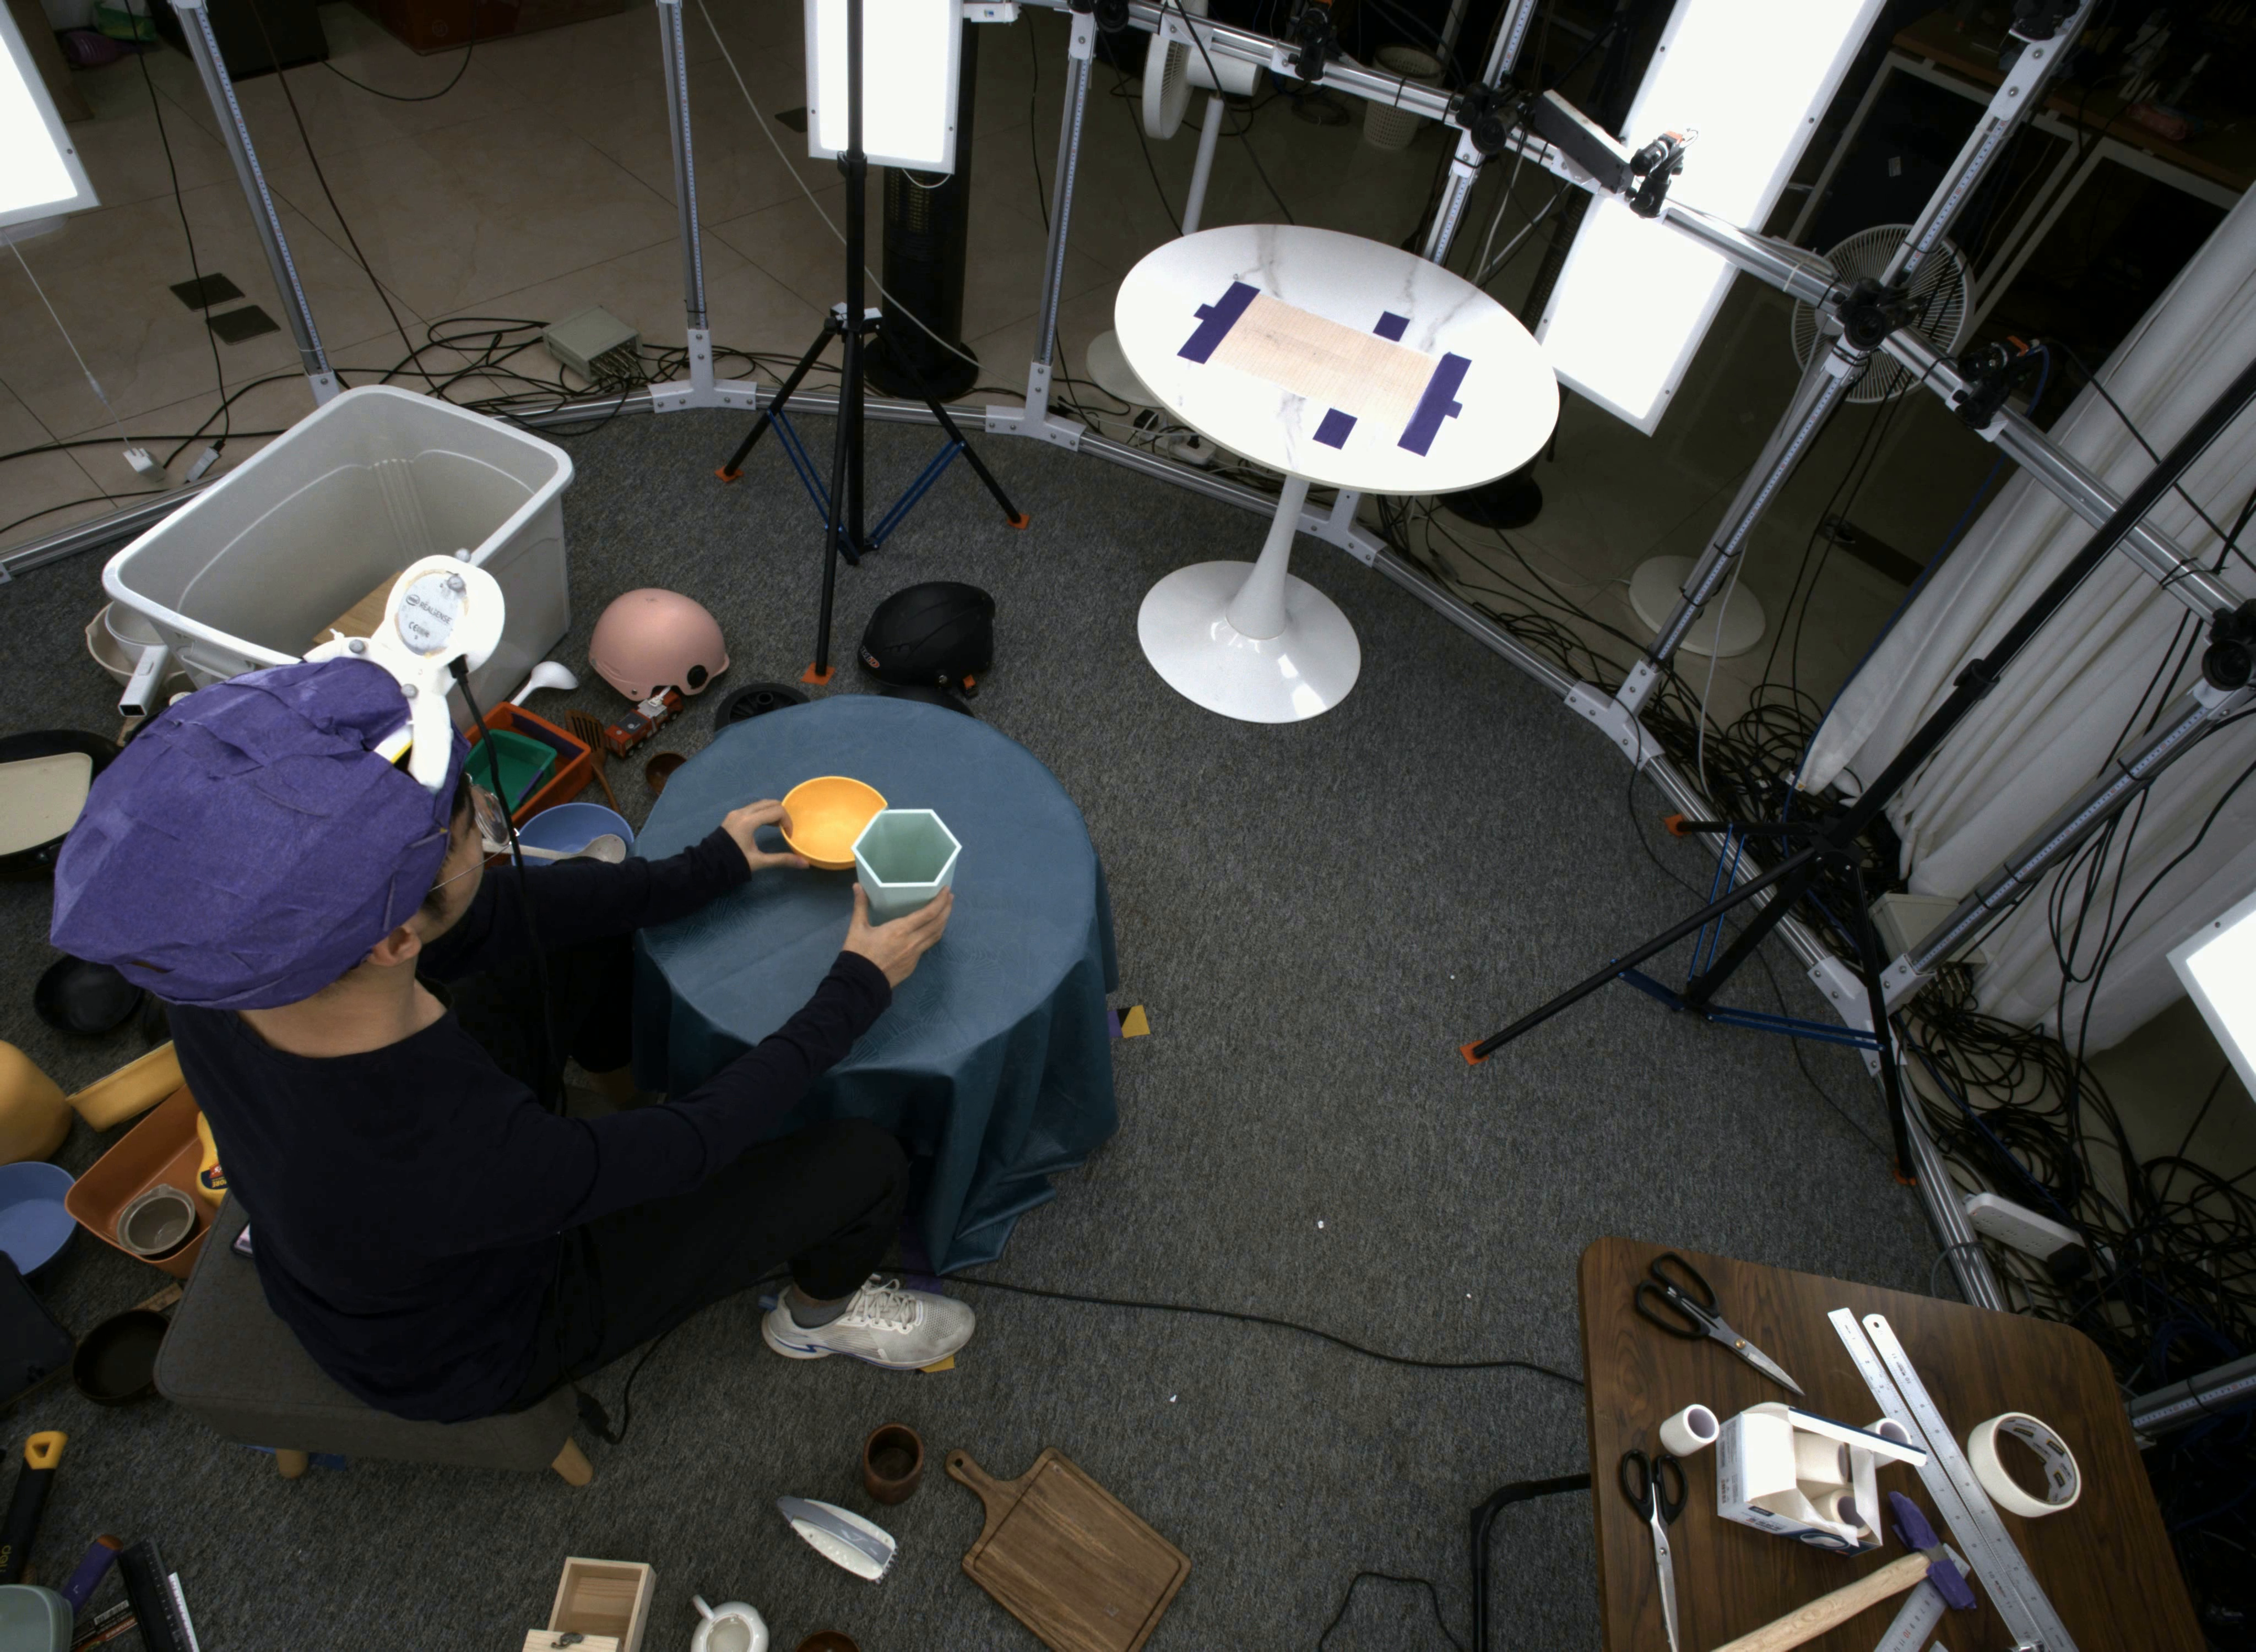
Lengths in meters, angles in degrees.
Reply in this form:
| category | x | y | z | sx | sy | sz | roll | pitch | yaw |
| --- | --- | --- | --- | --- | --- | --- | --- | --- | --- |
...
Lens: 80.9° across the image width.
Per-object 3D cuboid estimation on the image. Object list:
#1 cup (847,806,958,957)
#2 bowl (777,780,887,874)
| category | x | y | z | sx | sy | sz | roll | pitch | yaw |
| --- | --- | --- | --- | --- | --- | --- | --- | --- | --- |
| cup | -0.276 | 0.071 | 1.604 | 0.115 | 0.167 | 0.127 | -30 | 63 | -29 |
| bowl | -0.383 | 0.011 | 1.690 | 0.145 | 0.061 | 0.142 | 9 | 49 | -9 |
